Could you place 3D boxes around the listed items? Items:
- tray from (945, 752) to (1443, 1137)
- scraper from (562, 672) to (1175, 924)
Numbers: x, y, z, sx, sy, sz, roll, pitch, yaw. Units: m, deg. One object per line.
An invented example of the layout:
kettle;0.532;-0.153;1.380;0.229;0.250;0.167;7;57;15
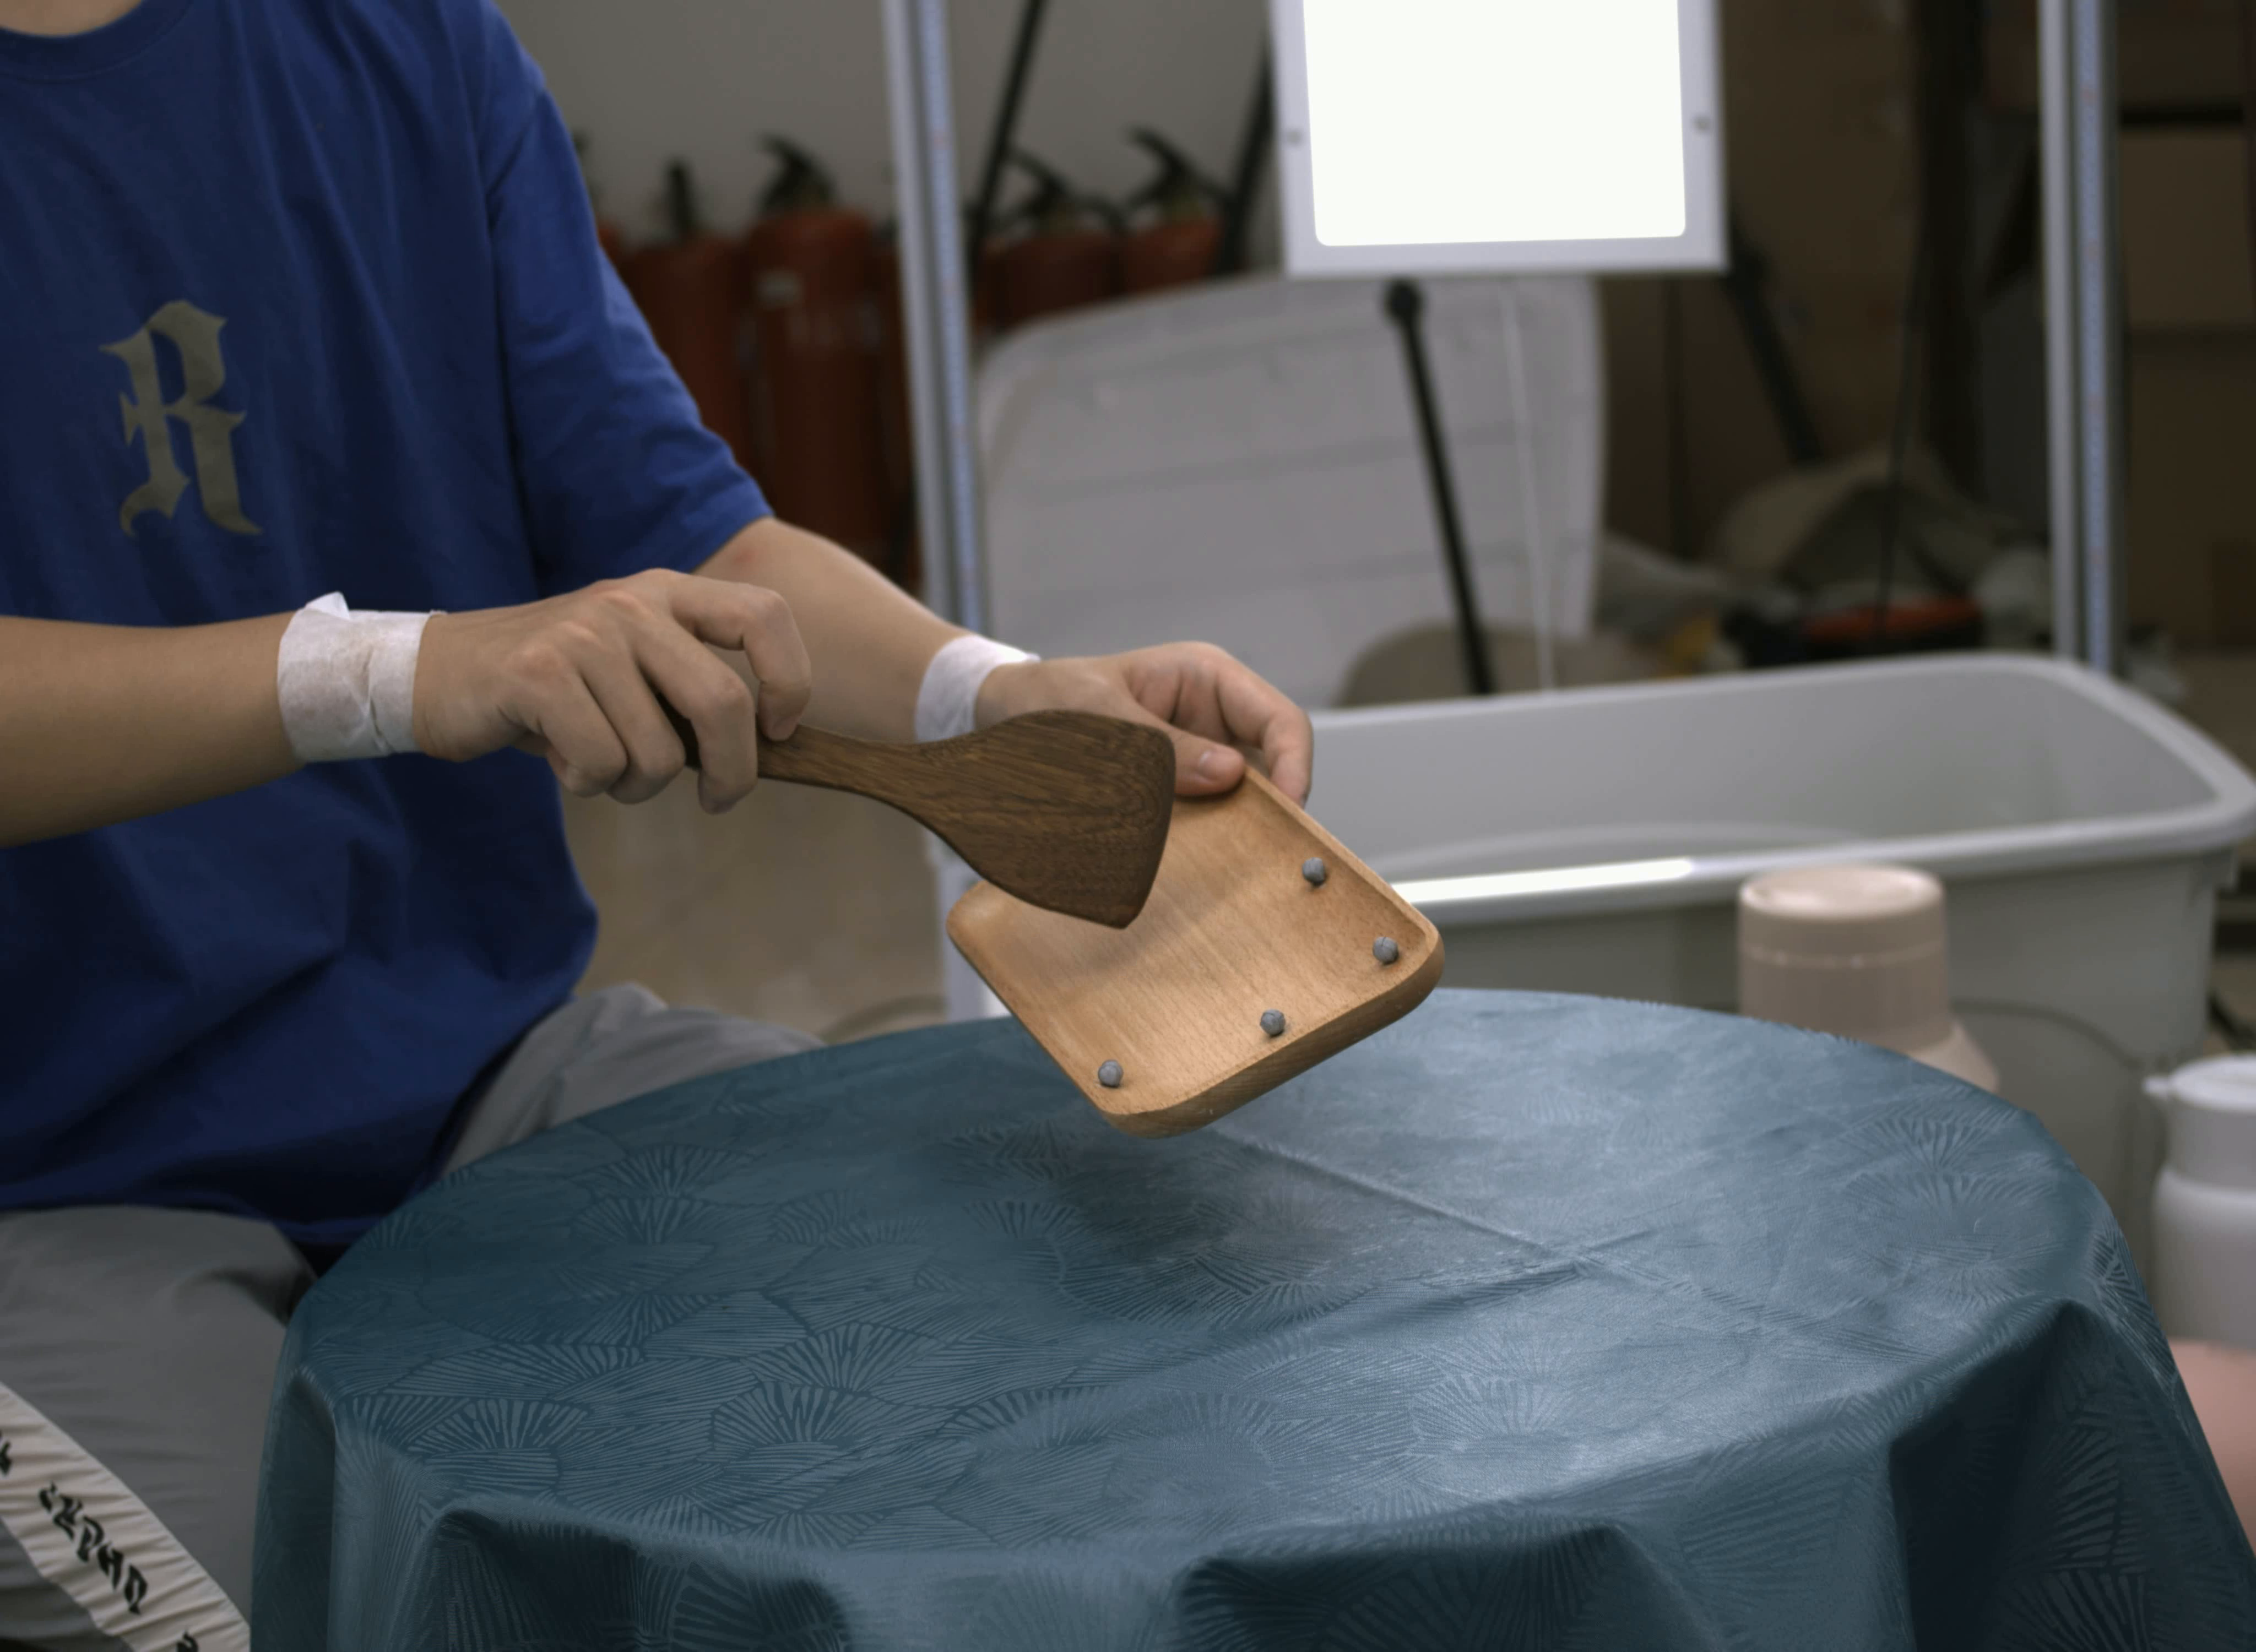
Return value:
tray;0.020;0.038;1.887;0.130;0.023;0.253;-26;21;-6
scraper;-0.089;-0.021;1.888;0.211;0.076;0.011;11;-12;0
